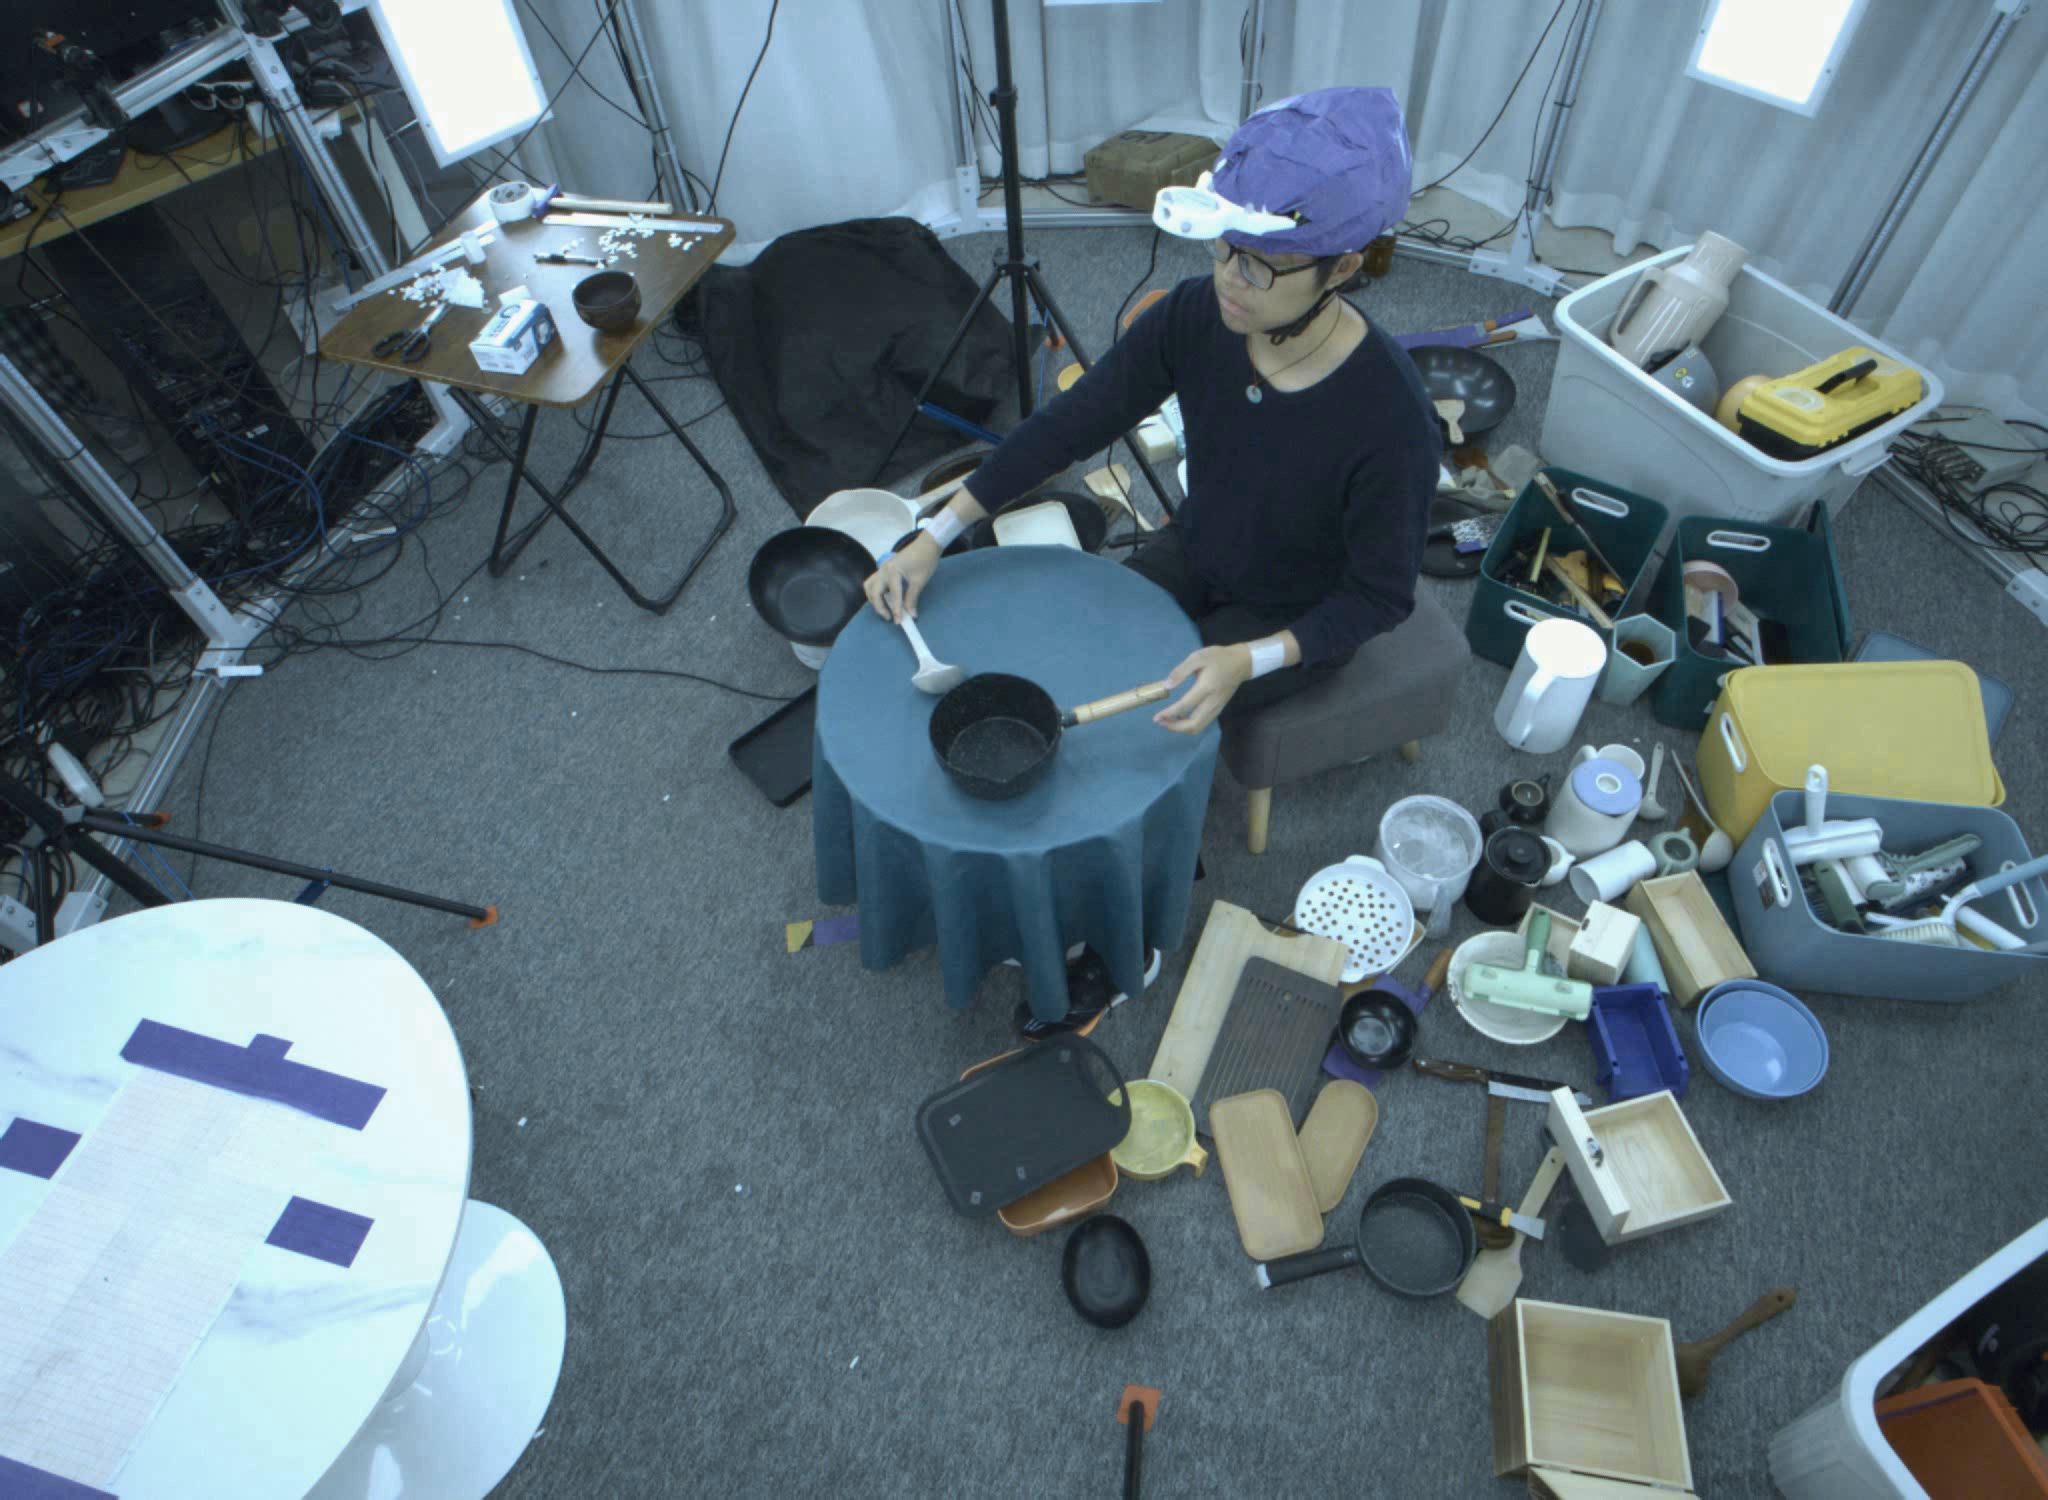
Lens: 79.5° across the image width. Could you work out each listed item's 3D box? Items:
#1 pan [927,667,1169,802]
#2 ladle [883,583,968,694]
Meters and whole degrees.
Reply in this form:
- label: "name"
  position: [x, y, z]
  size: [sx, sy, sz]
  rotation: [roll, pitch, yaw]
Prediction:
- label: "pan"
  position: [0.037, -0.033, 1.743]
  size: [0.344, 0.109, 0.204]
  rotation: [-11, 54, -4]
- label: "ladle"
  position: [-0.169, -0.192, 1.889]
  size: [0.090, 0.070, 0.270]
  rotation: [-18, 55, -16]
